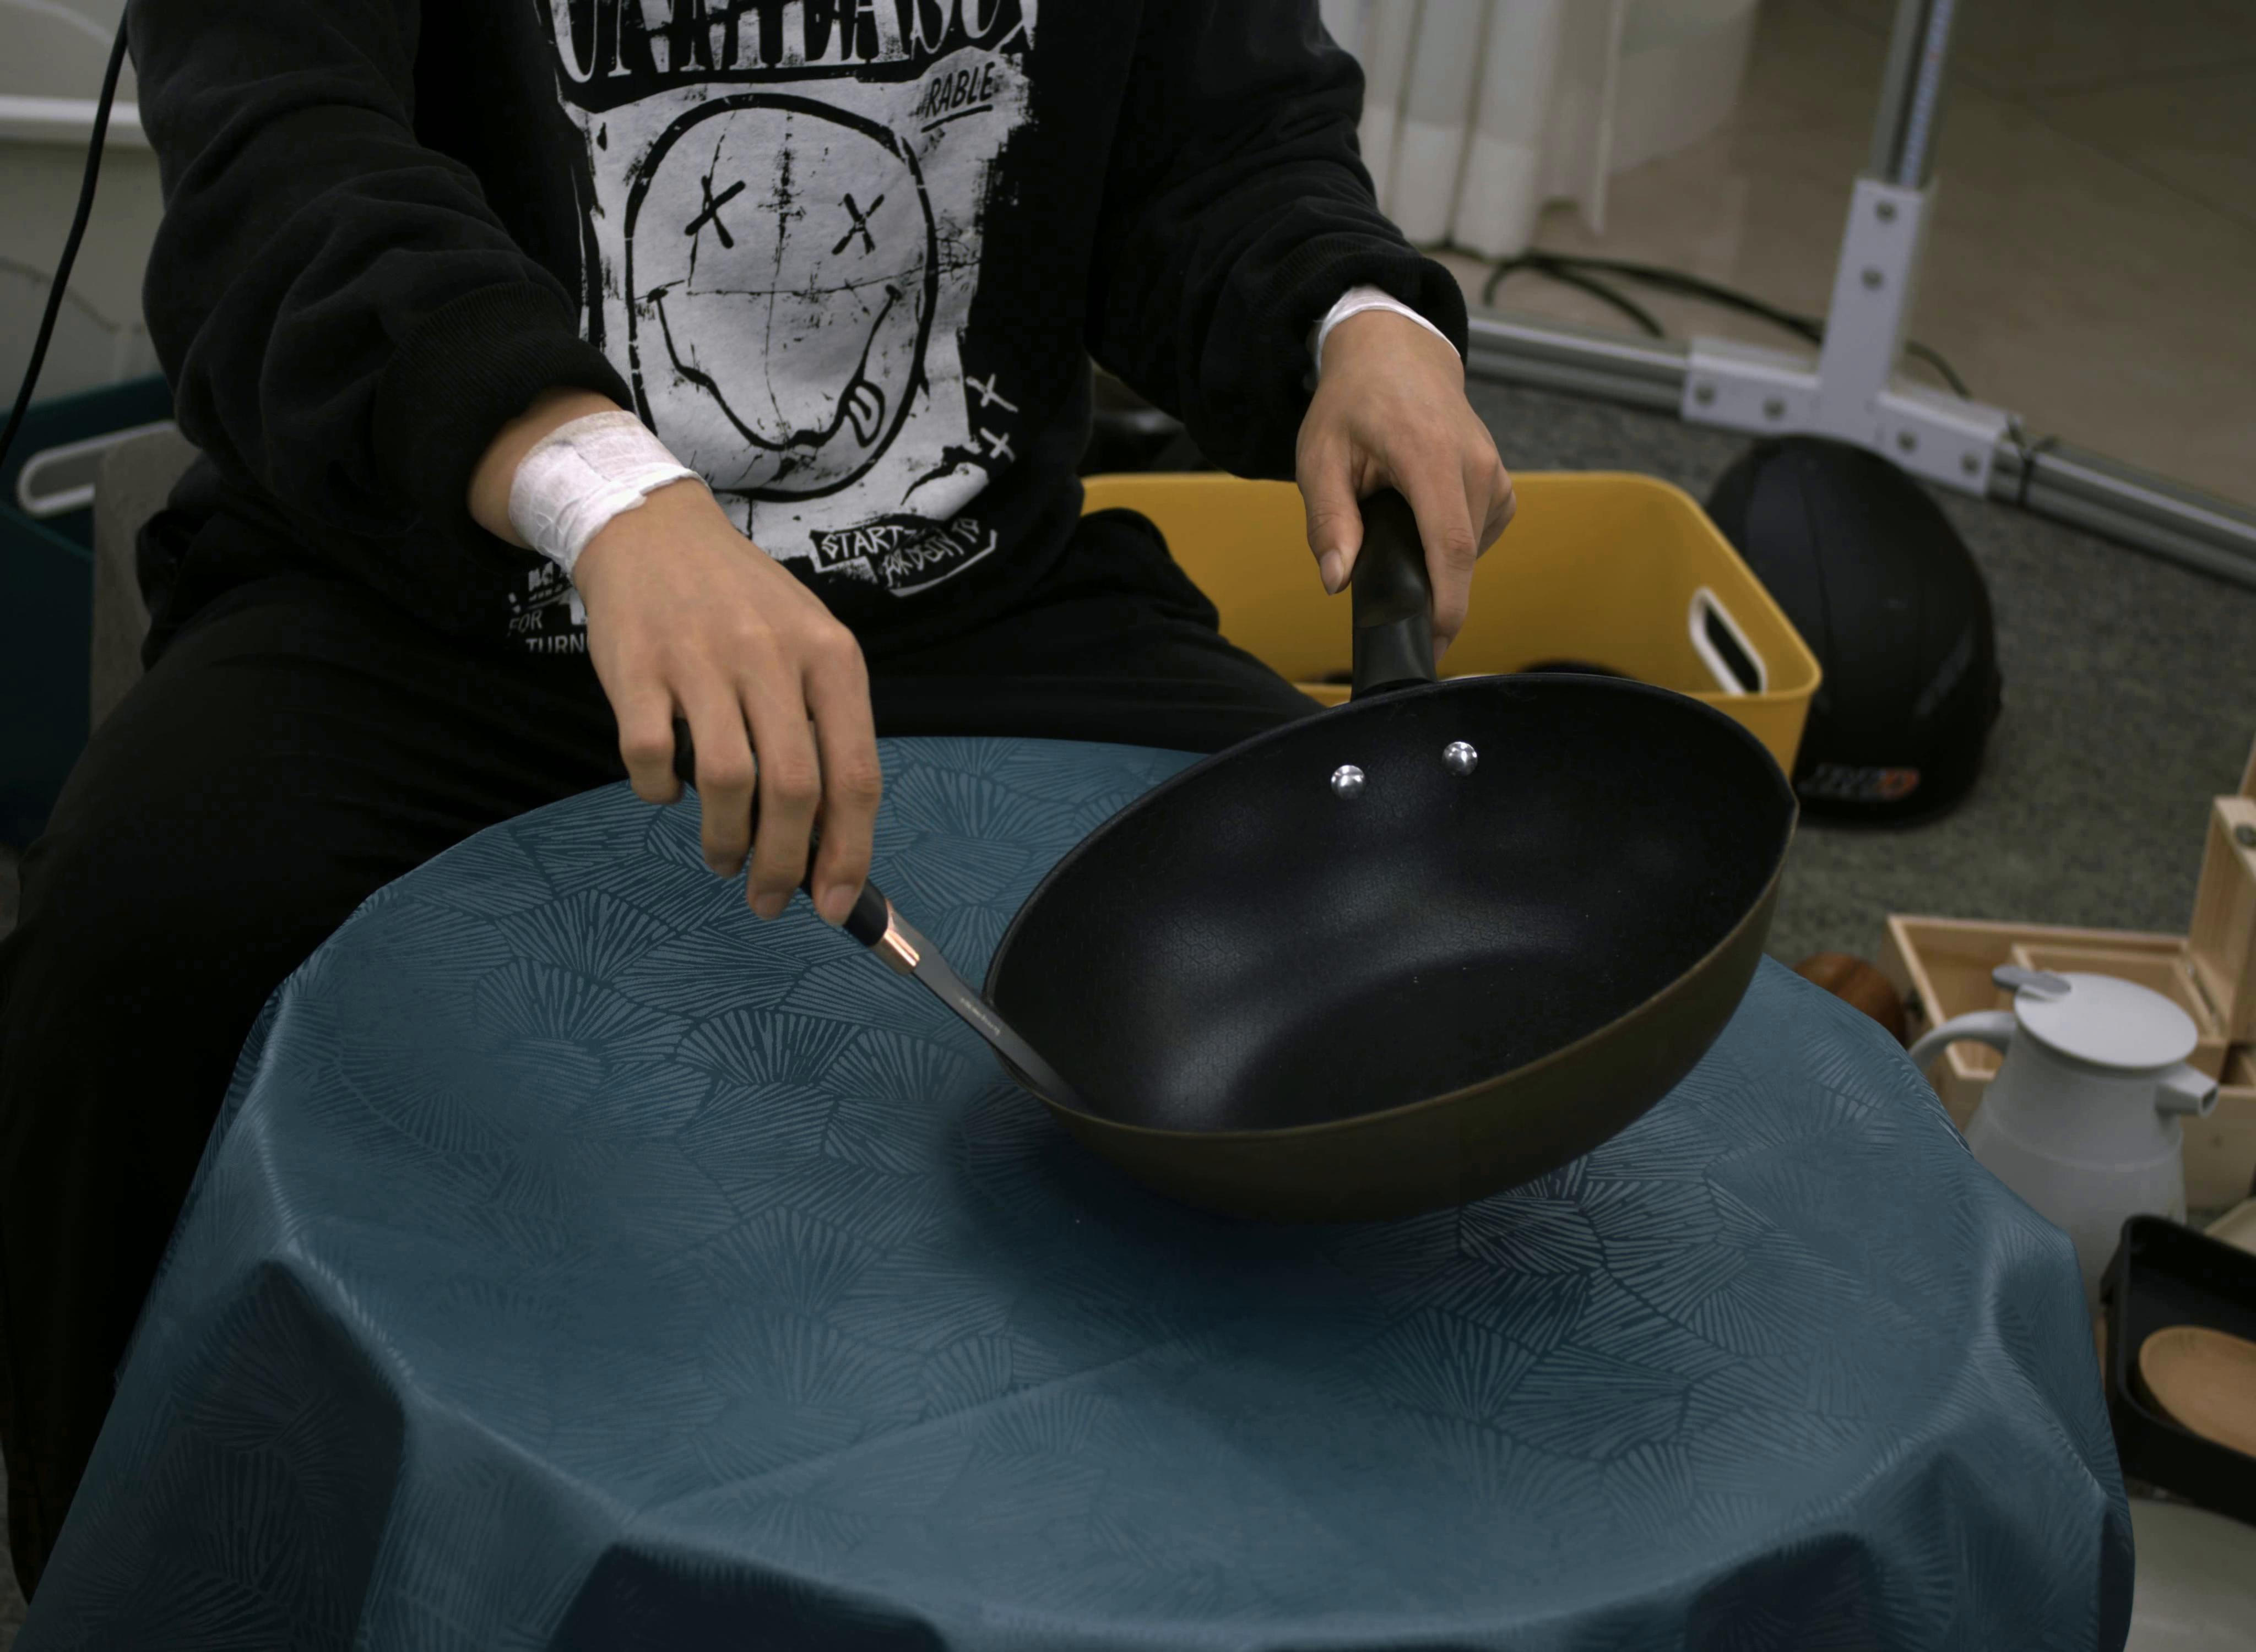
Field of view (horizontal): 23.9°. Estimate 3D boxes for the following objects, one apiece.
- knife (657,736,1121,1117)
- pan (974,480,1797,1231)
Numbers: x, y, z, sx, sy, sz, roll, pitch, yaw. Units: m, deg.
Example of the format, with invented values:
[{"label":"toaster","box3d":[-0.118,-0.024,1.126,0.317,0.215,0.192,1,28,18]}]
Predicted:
[{"label":"knife","box3d":[-0.069,0.043,1.755,0.224,0.017,0.026,41,16,-17]},{"label":"pan","box3d":[0.100,0.012,1.893,0.288,0.086,0.466,-13,27,11]}]
